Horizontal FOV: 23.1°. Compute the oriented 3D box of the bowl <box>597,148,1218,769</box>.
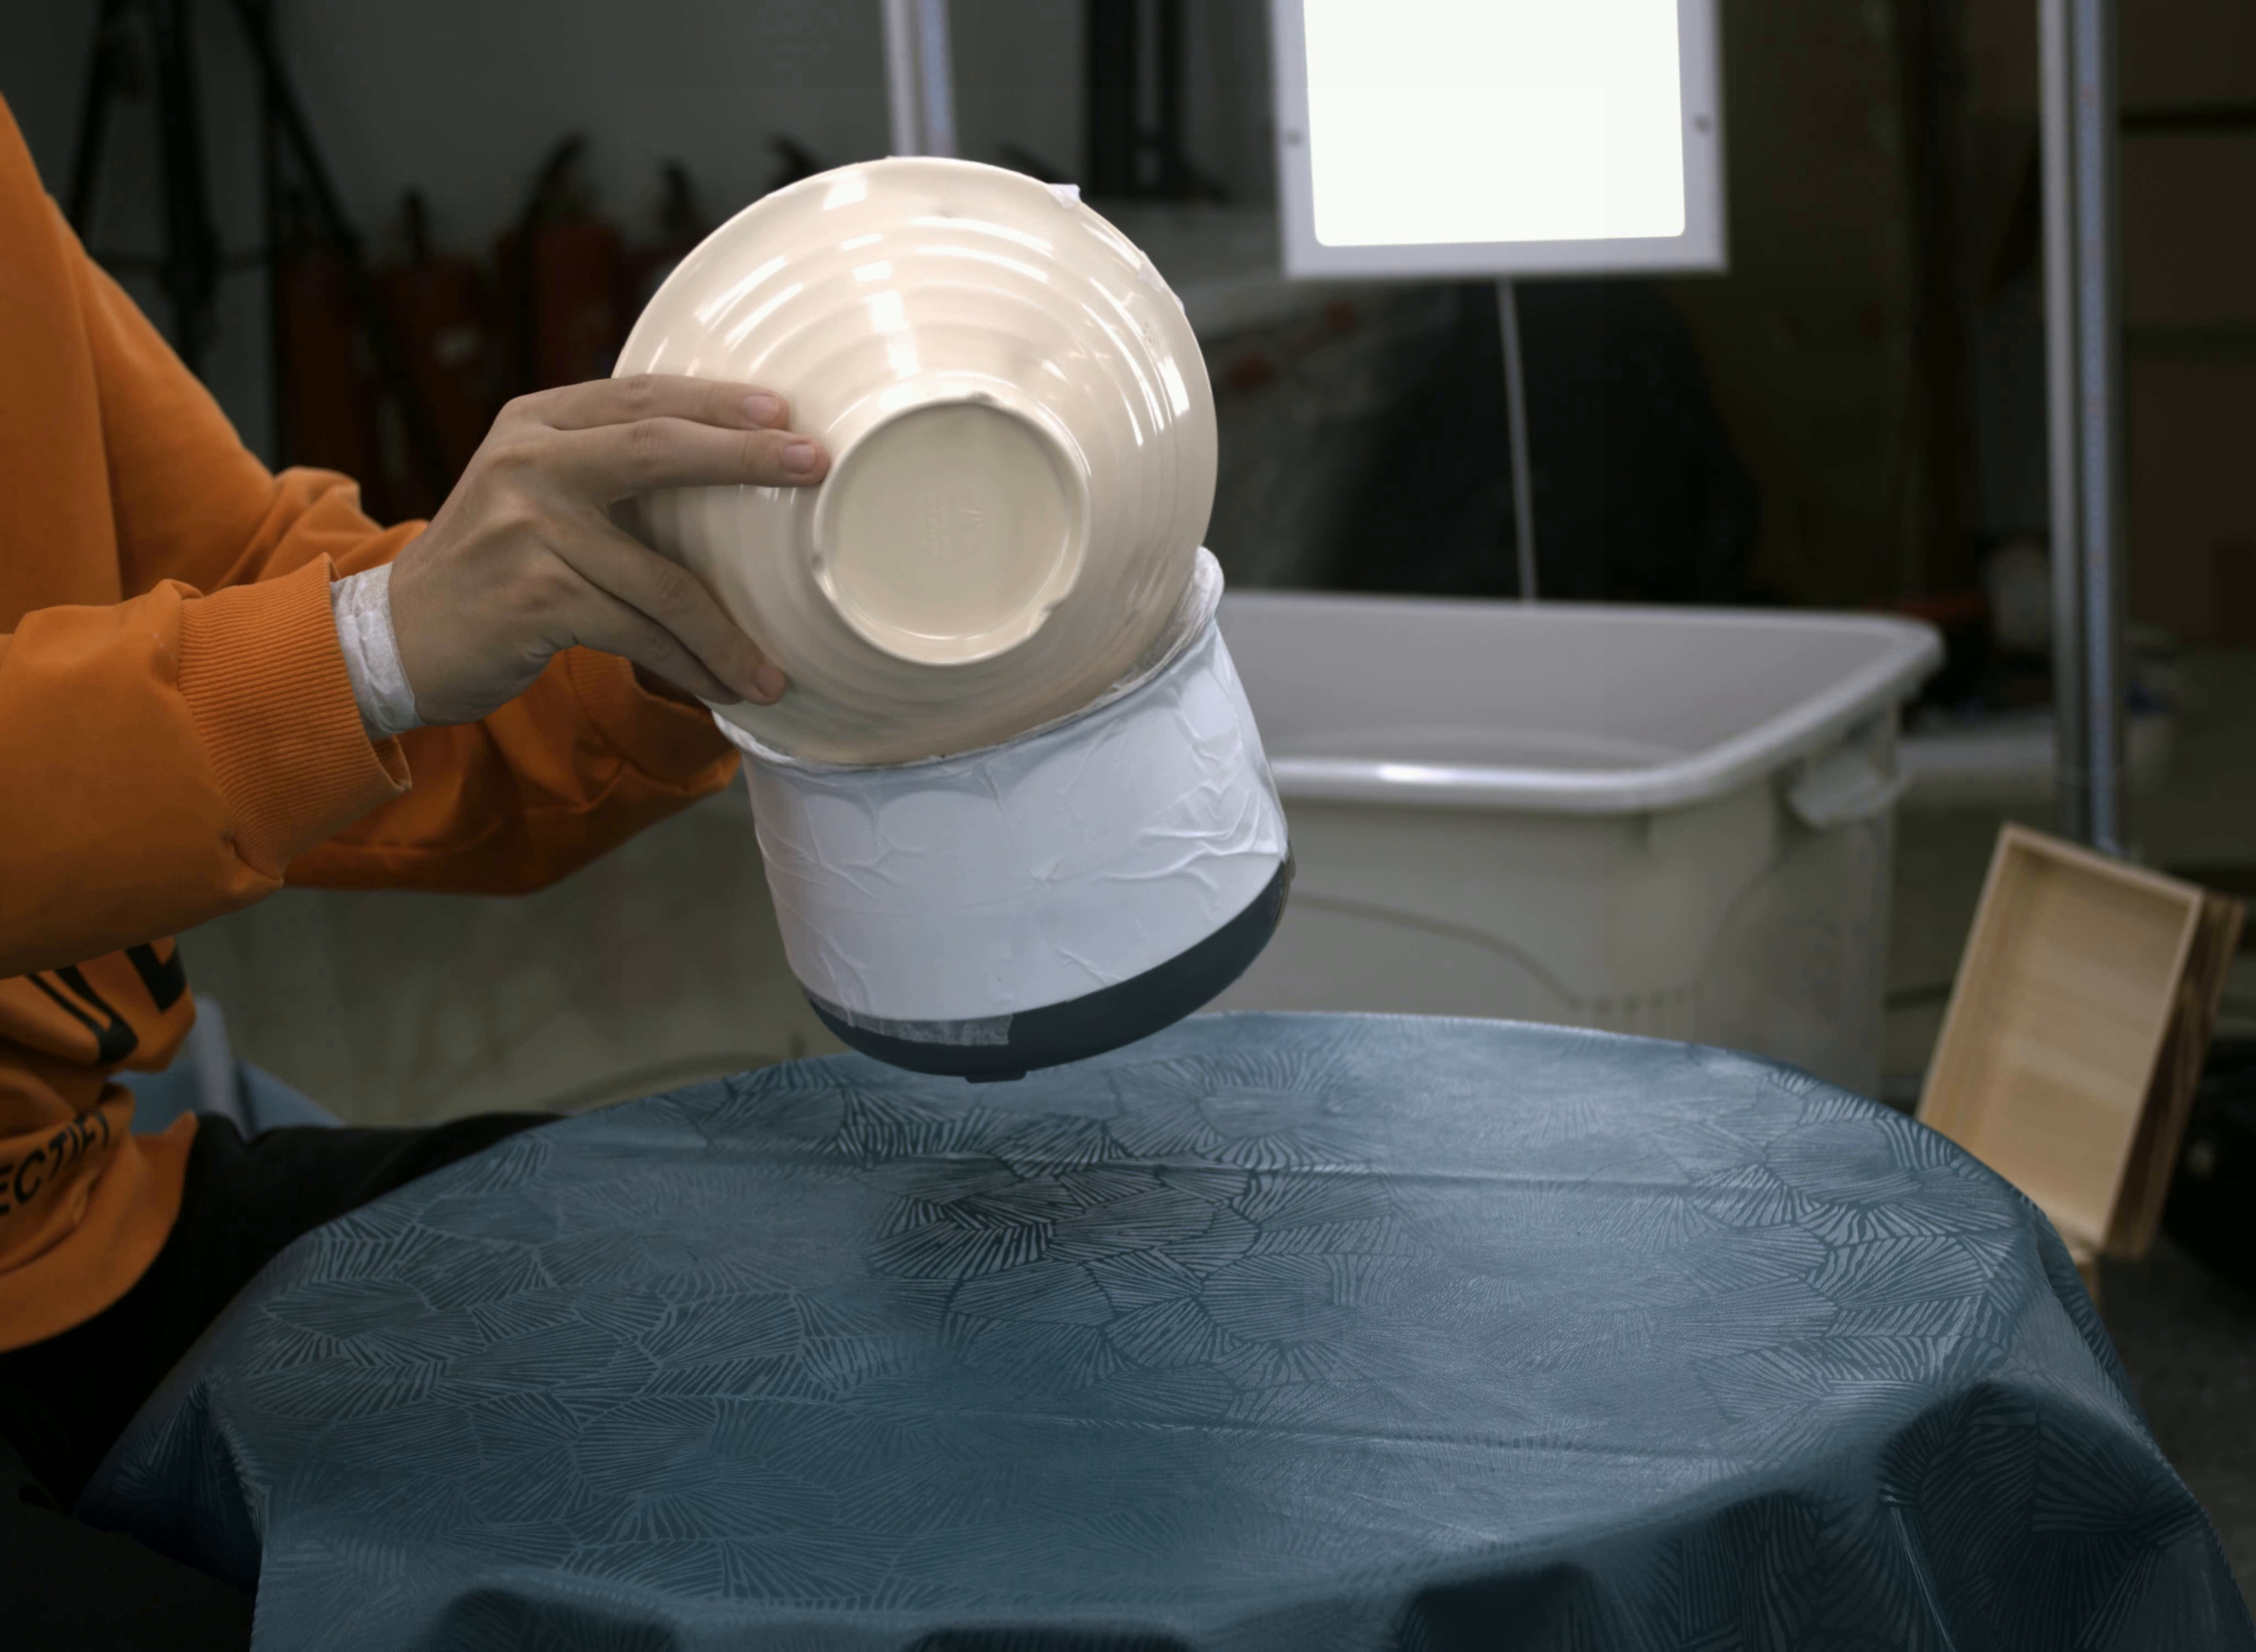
[{"bbox_3d":[-0.060,-0.104,1.724,0.201,0.205,0.078,-7,19,-11],"label":"bowl"}]

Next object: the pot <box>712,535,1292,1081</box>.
[{"bbox_3d":[-0.053,-0.017,1.882,0.176,0.136,0.237,-25,28,-19],"label":"pot"}]
